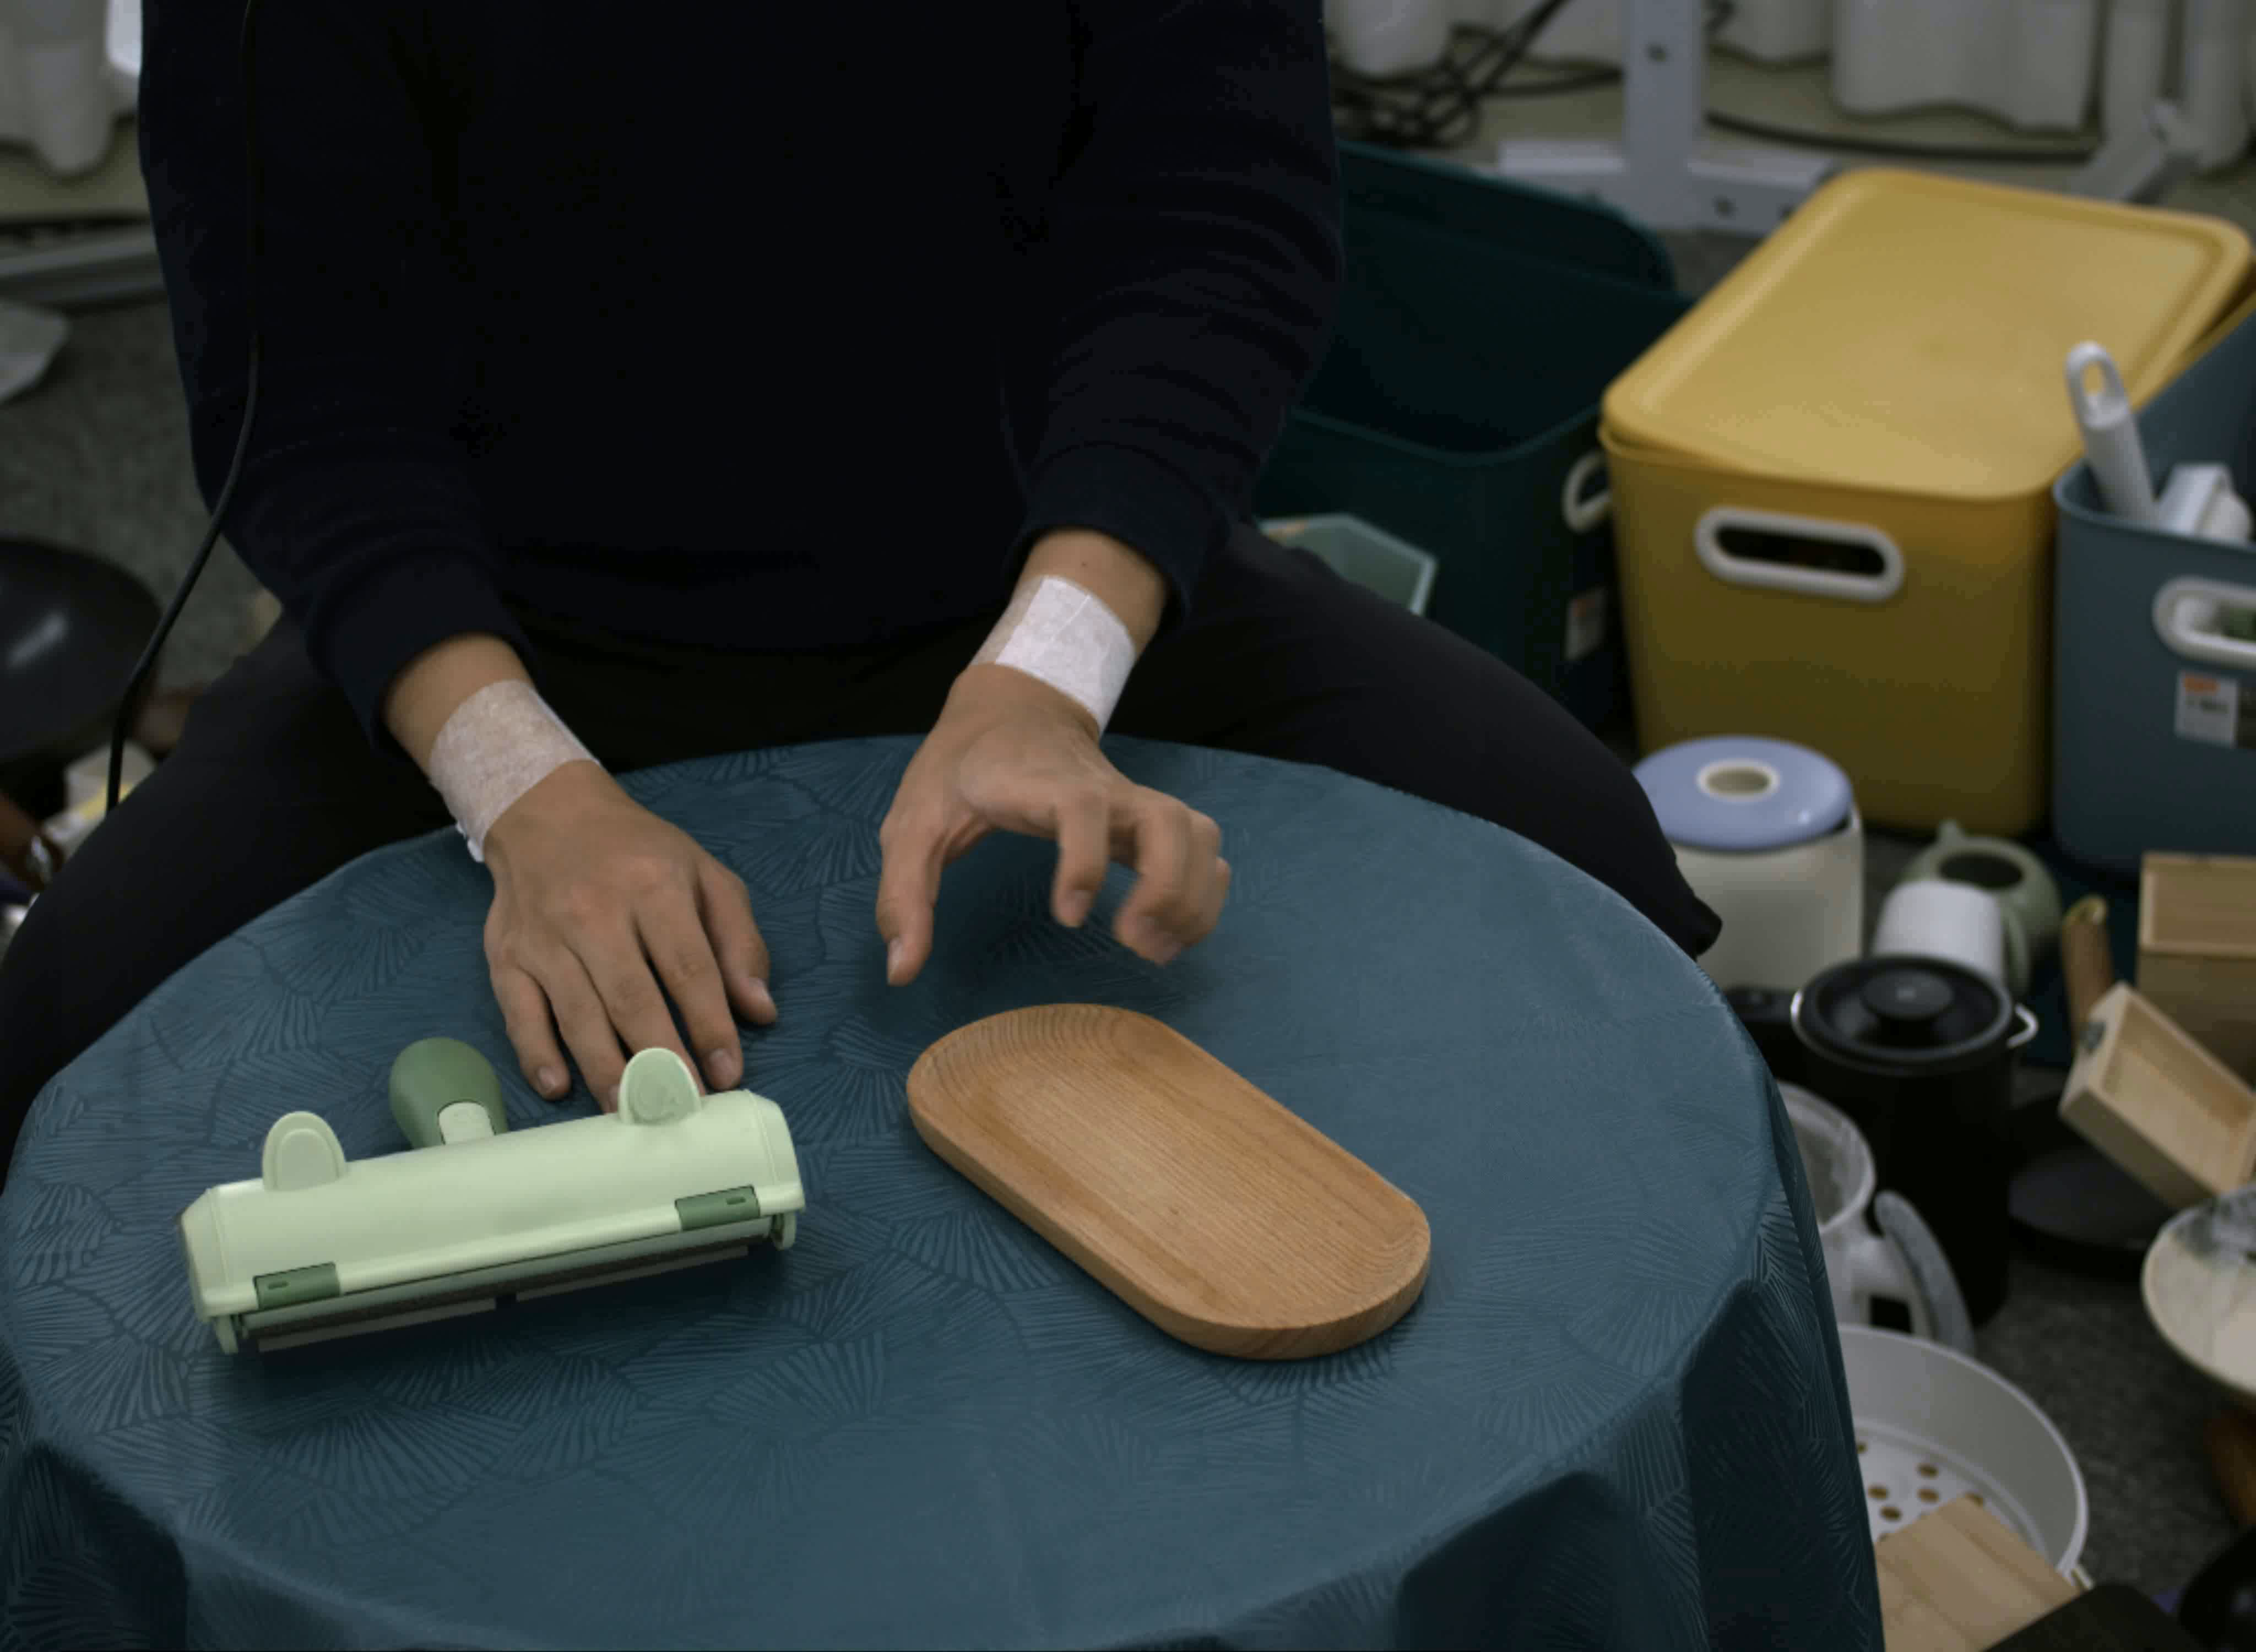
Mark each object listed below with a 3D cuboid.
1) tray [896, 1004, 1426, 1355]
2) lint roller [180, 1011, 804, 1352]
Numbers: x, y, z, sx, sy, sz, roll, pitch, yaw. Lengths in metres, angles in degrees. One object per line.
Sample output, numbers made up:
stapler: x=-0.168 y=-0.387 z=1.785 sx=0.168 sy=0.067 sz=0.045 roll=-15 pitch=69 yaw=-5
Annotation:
tray: x=0.009 y=0.115 z=1.857 sx=0.102 sy=0.020 sz=0.231 roll=-19 pitch=30 yaw=-29
lint roller: x=-0.220 y=0.092 z=1.849 sx=0.199 sy=0.081 sz=0.185 roll=-10 pitch=34 yaw=-14
